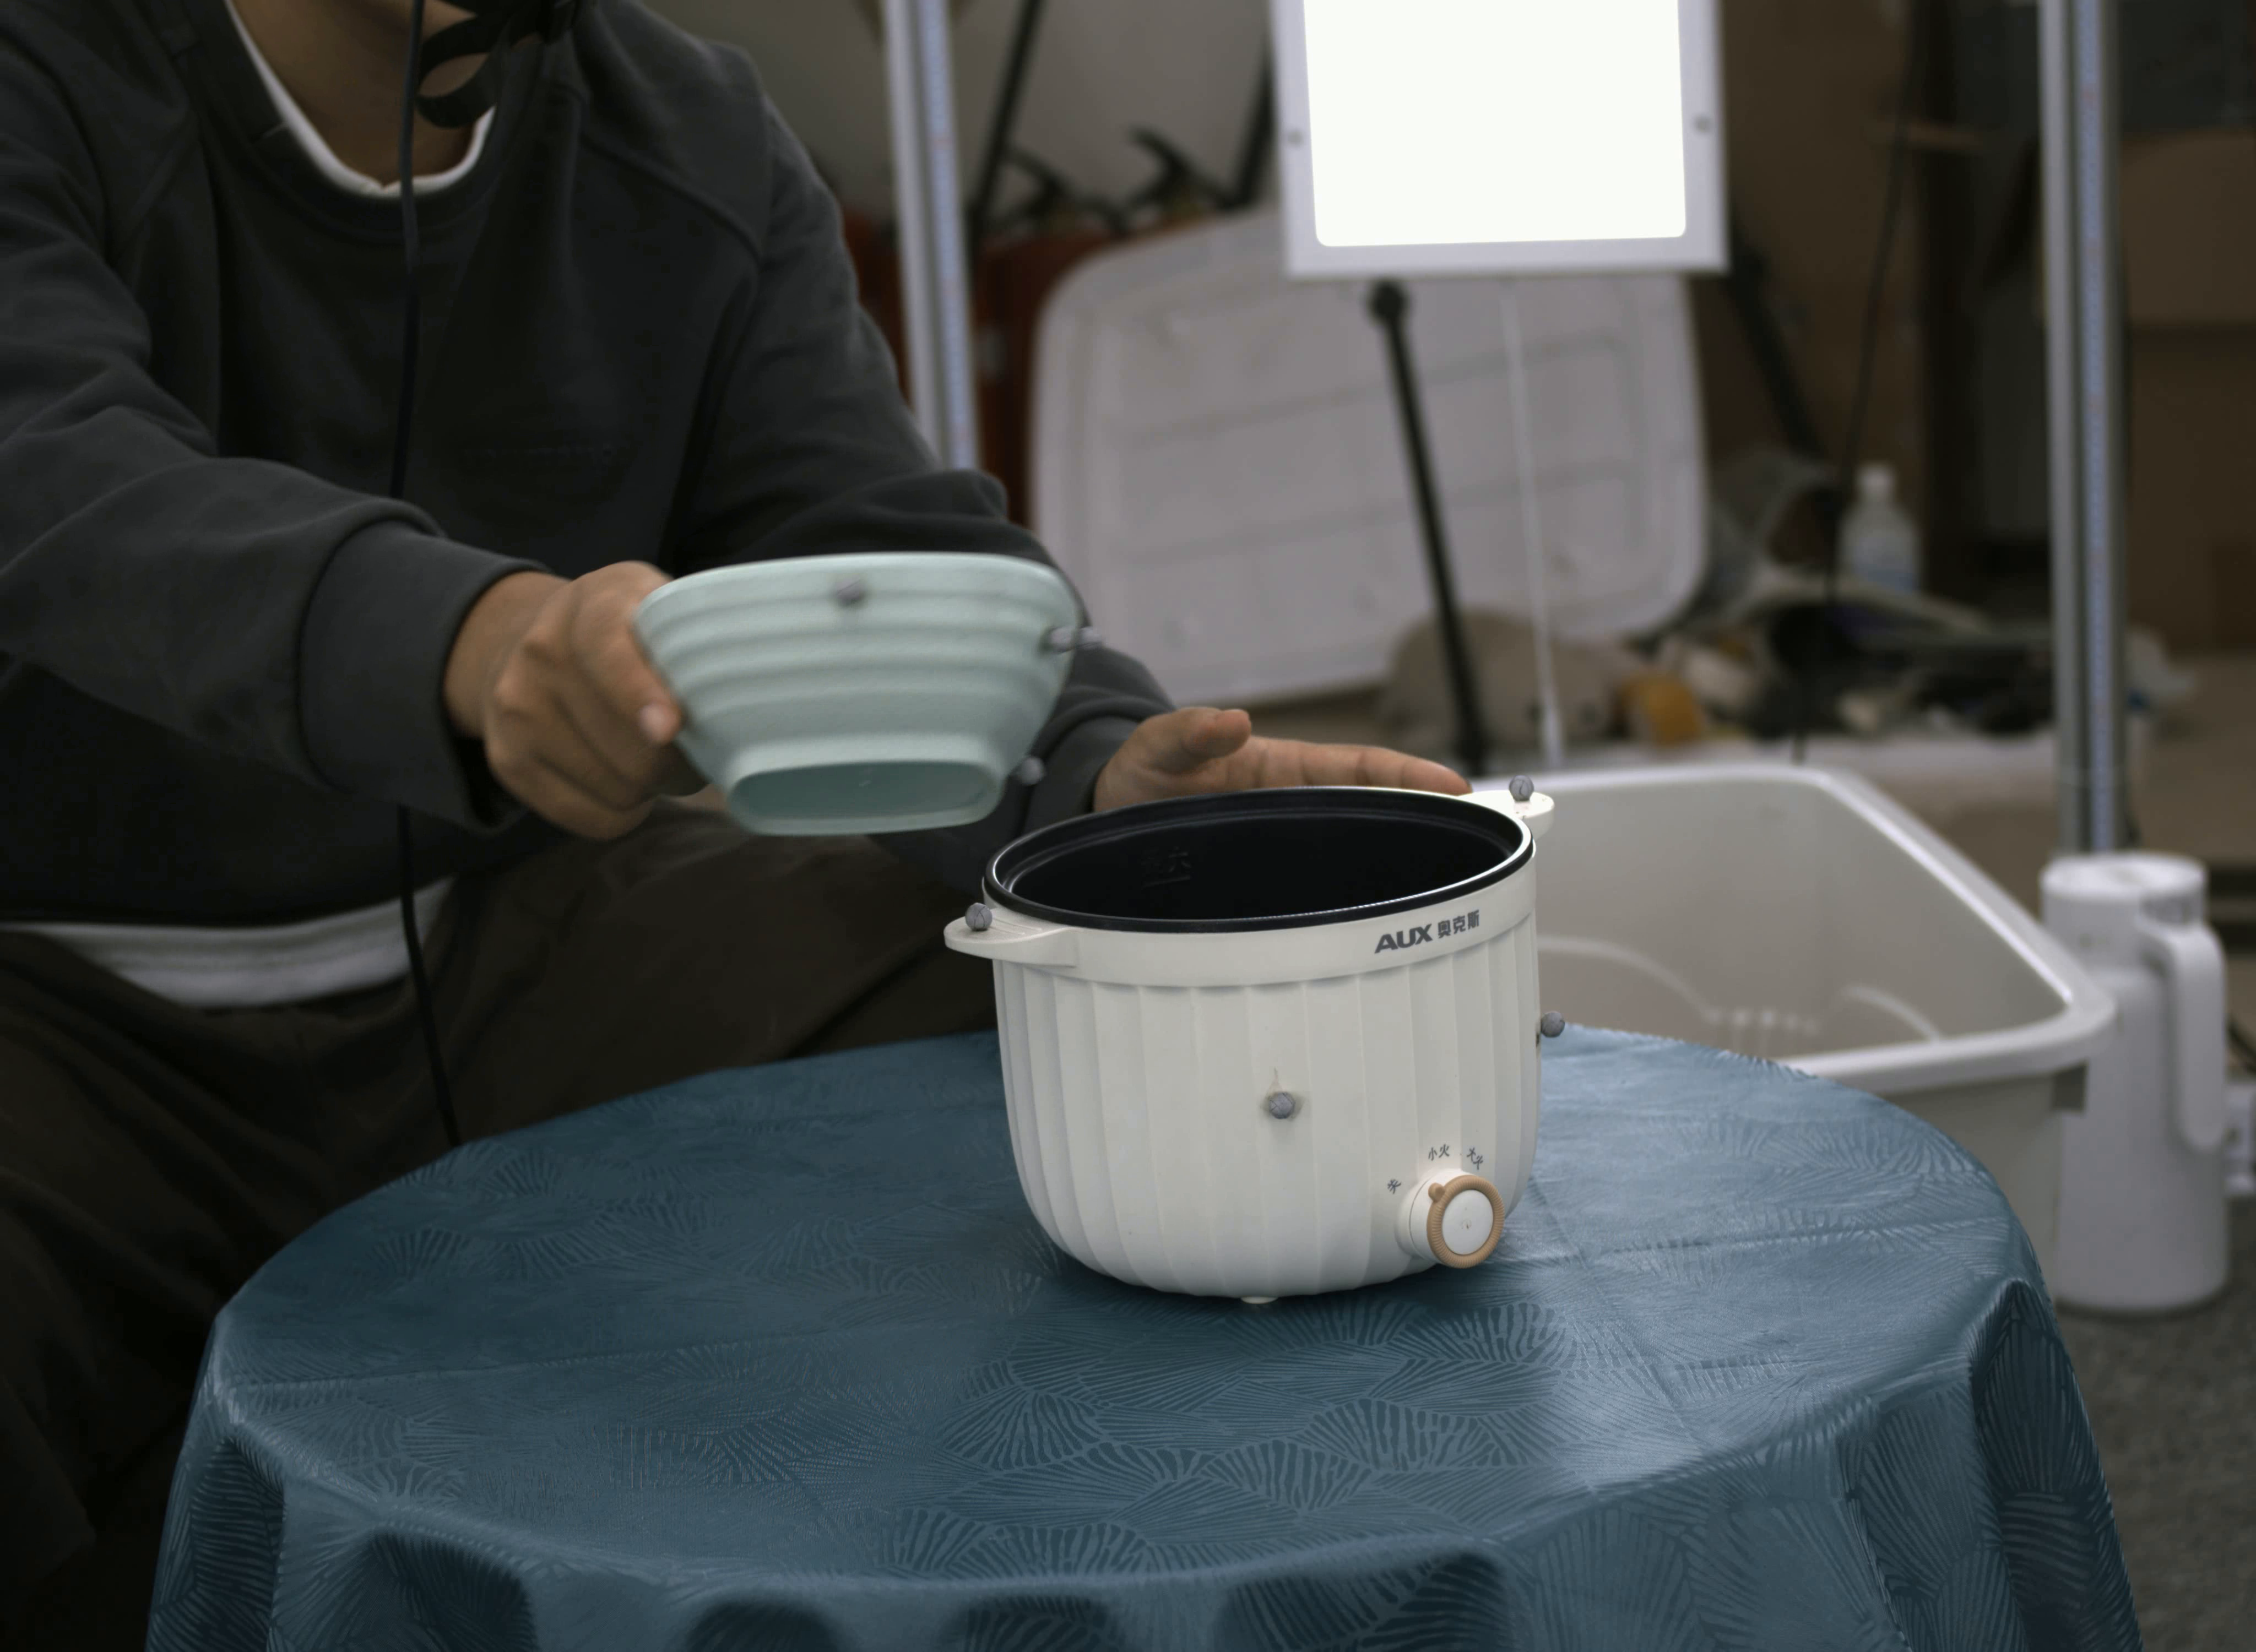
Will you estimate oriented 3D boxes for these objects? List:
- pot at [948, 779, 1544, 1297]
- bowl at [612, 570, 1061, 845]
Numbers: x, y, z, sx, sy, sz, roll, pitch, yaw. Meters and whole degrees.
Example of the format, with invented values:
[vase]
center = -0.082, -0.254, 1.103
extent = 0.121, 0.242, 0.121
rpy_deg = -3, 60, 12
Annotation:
[pot]
center = 0.052, 0.071, 1.810
extent = 0.234, 0.143, 0.194
rpy_deg = -16, 14, -33
[bowl]
center = -0.089, -0.032, 1.696
extent = 0.151, 0.059, 0.152
rpy_deg = -2, -14, -2
